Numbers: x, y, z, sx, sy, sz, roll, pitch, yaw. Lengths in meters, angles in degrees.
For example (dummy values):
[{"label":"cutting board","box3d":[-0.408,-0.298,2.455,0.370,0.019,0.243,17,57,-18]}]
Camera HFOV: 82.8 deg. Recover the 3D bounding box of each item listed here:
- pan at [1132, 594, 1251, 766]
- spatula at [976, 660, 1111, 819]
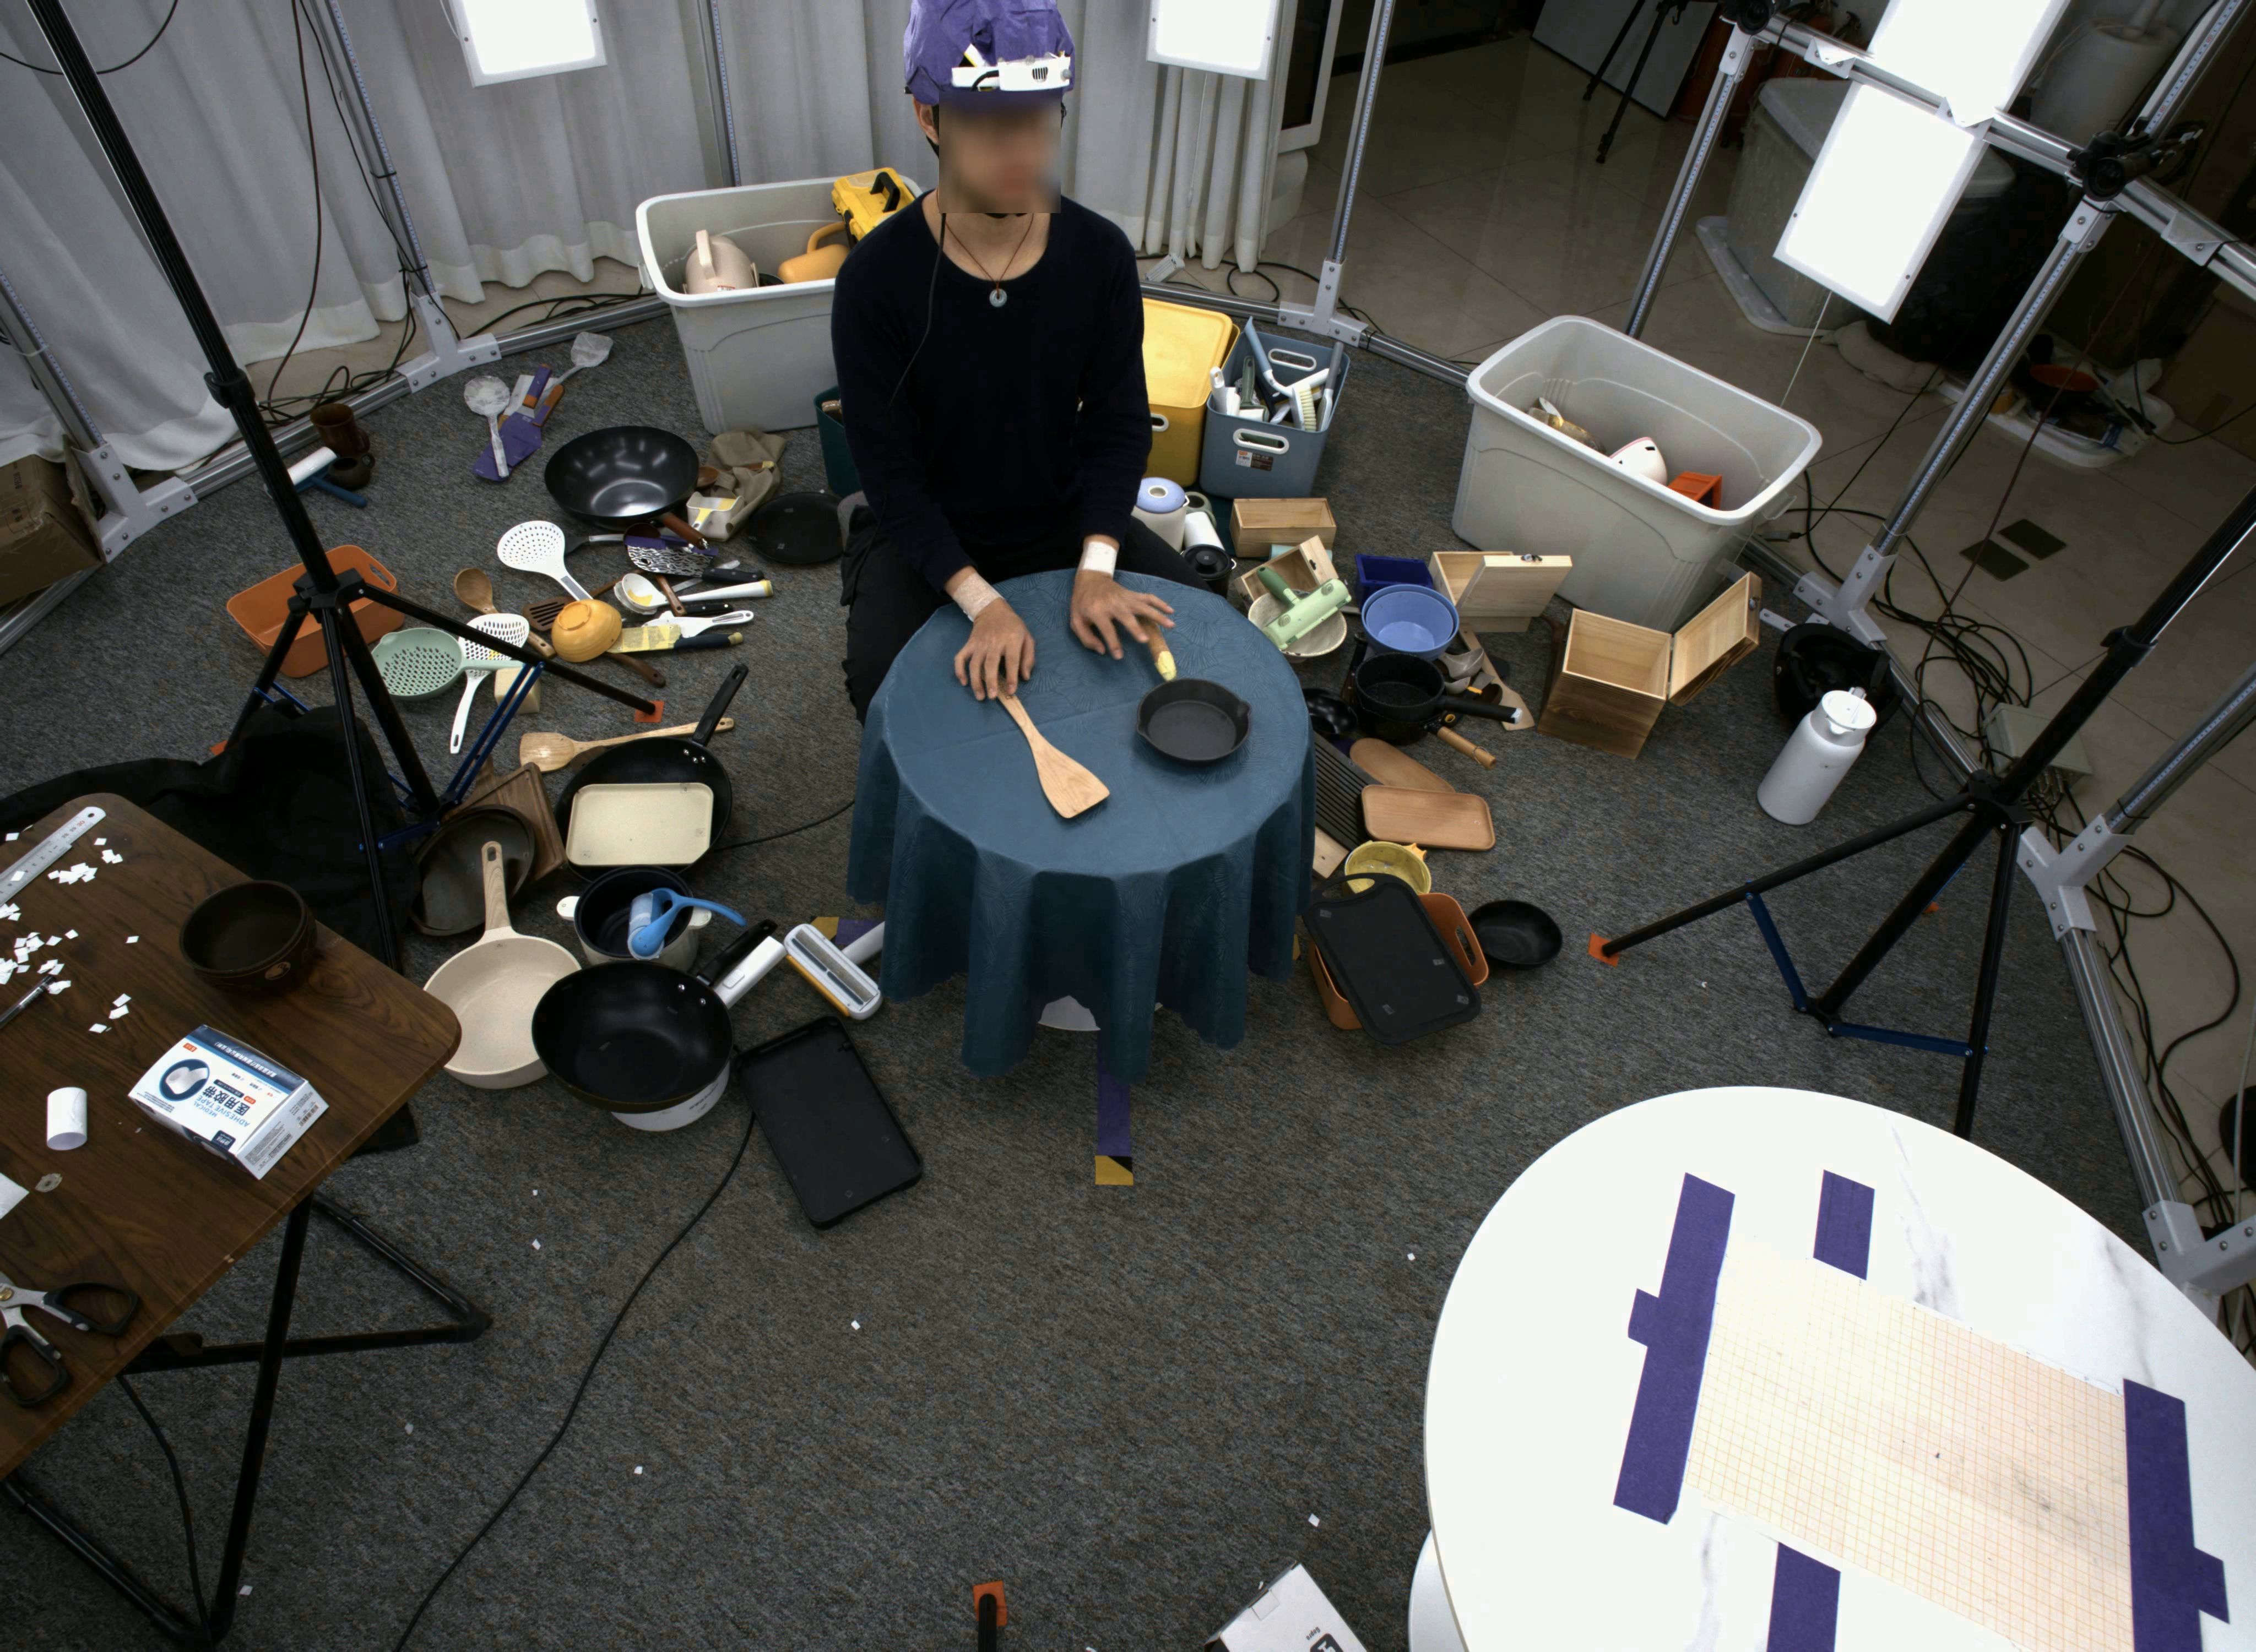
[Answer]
[{"label":"pan","box3d":[0.065,-0.209,1.821,0.169,0.048,0.332,-11,52,-13]},{"label":"spatula","box3d":[-0.129,-0.129,1.761,0.080,0.016,0.334,-21,54,-22]}]
